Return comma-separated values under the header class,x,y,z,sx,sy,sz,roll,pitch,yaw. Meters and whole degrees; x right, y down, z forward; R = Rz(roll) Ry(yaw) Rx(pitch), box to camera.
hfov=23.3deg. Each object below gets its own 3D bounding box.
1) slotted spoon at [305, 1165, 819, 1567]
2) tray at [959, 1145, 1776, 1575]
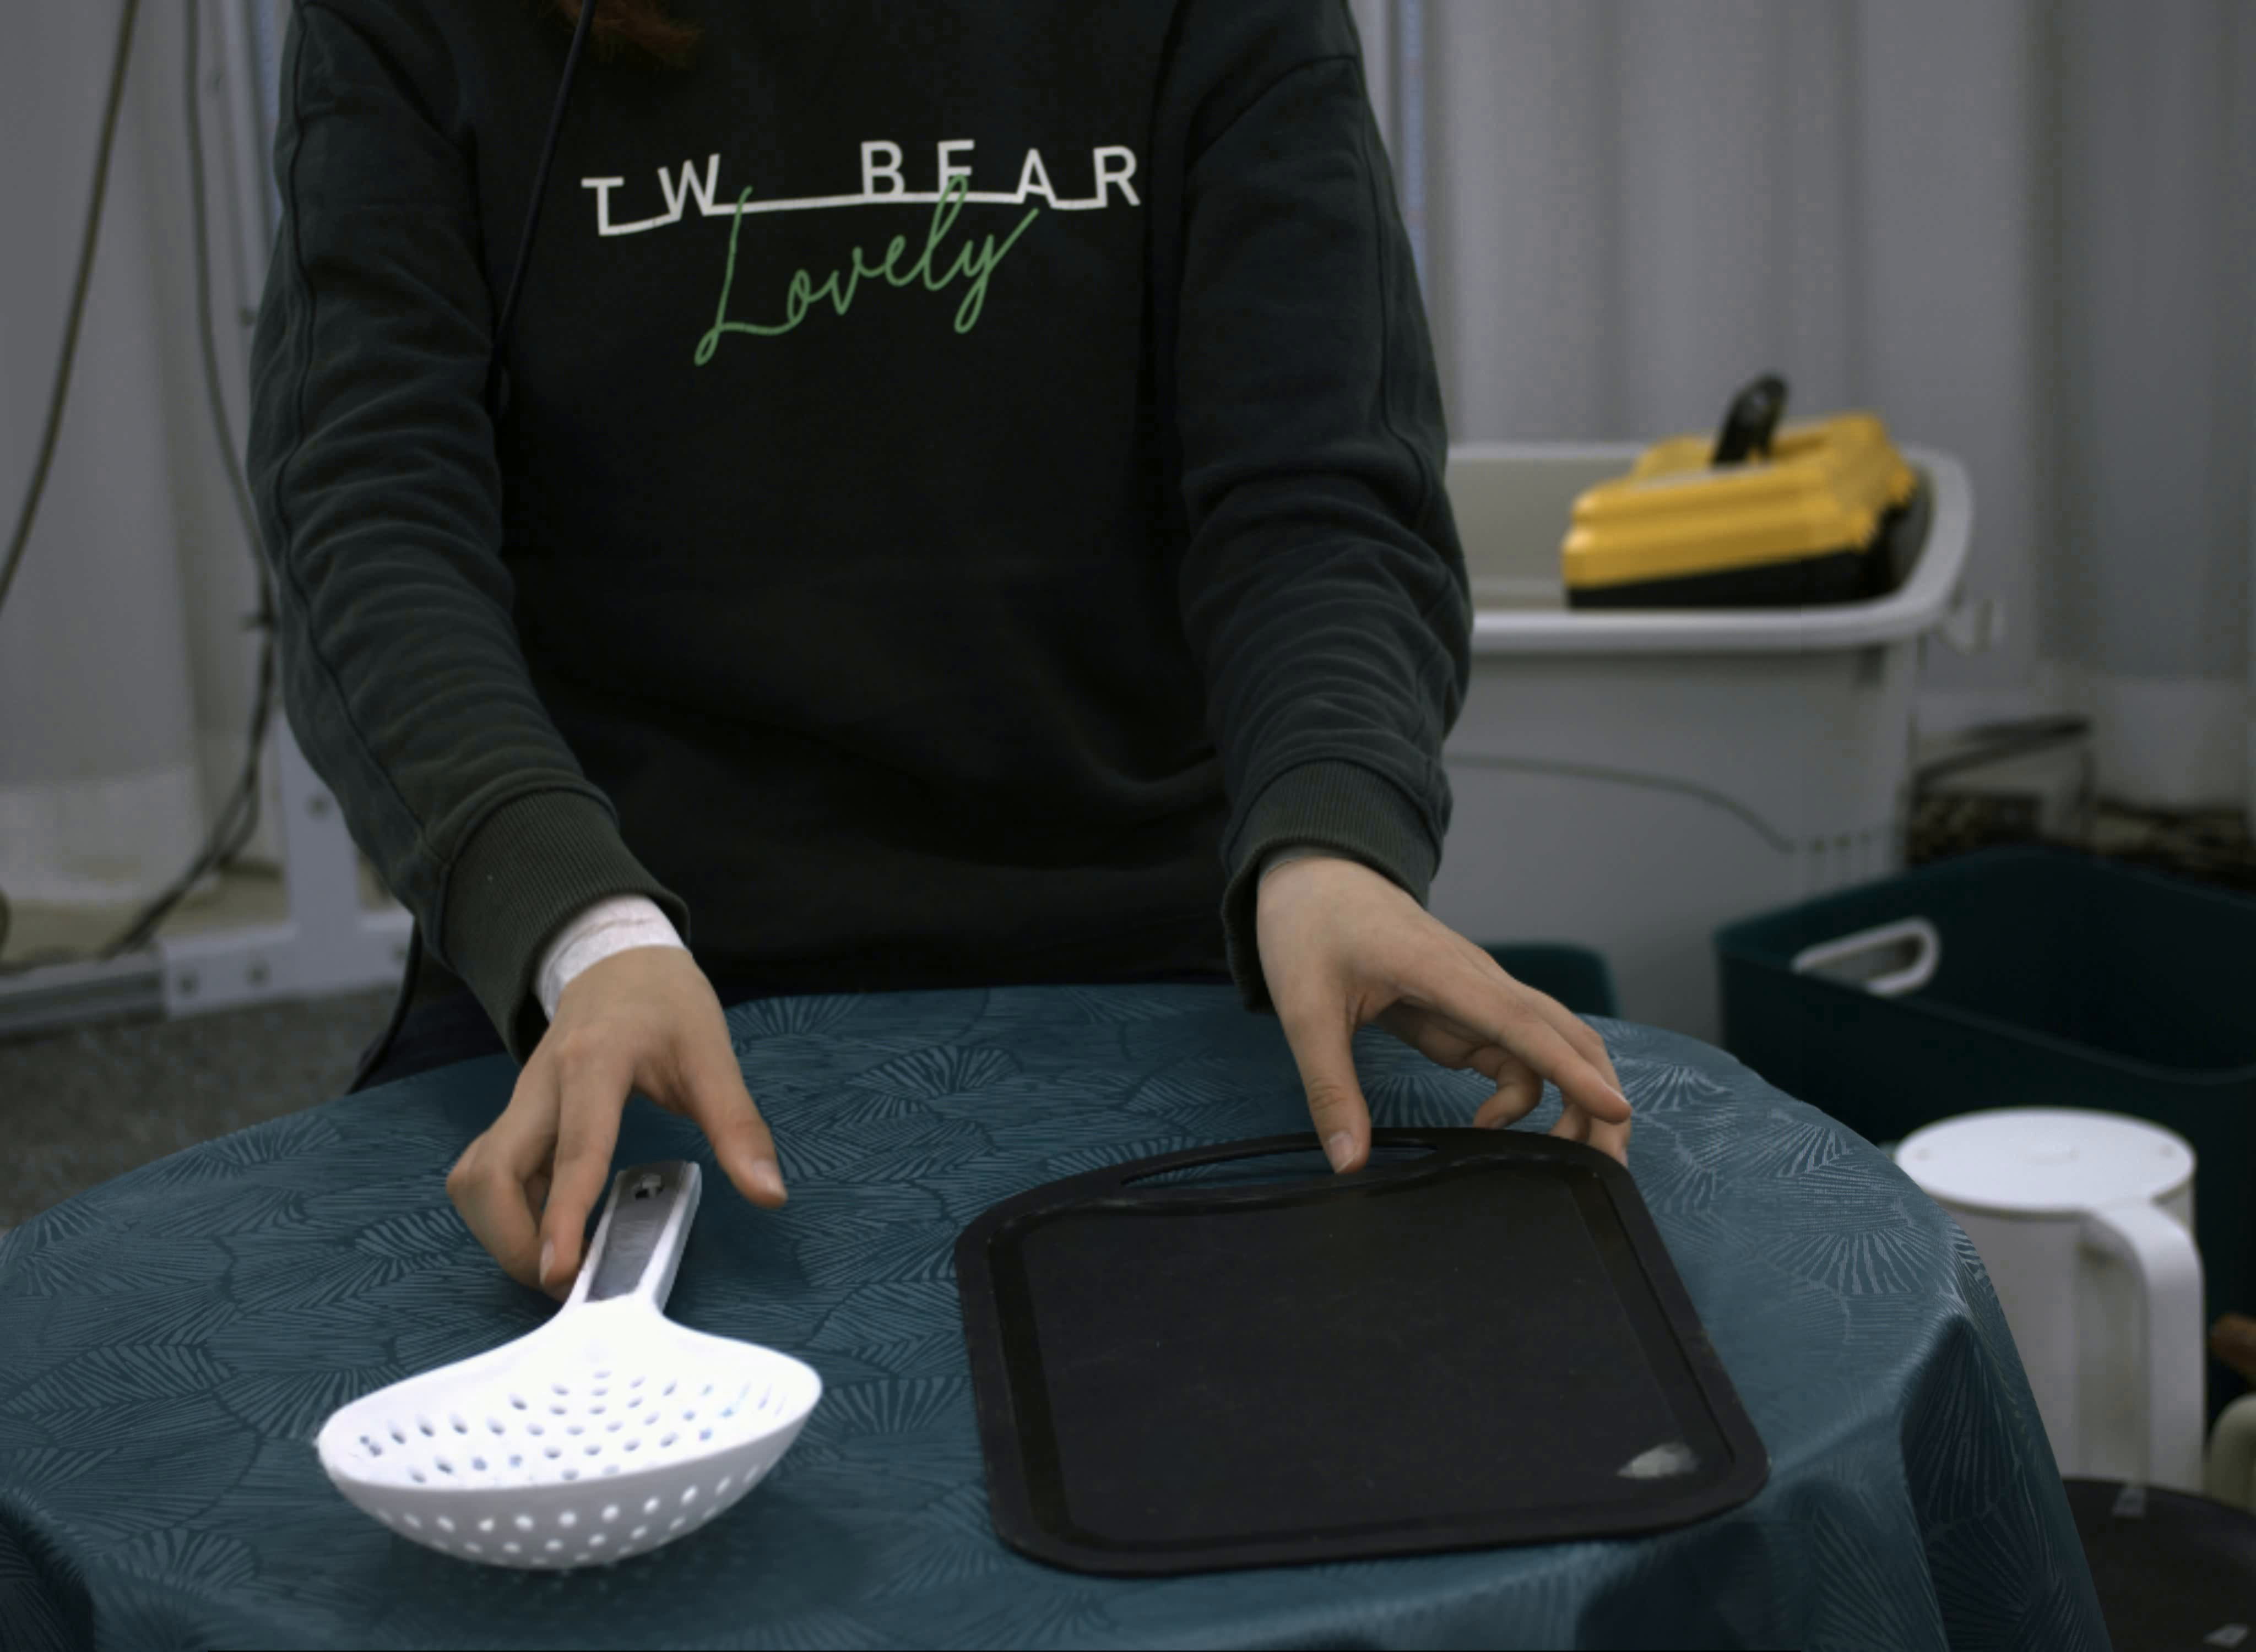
class,x,y,z,sx,sy,sz,roll,pitch,yaw
slotted spoon,-0.147,0.143,1.547,0.135,0.045,0.352,-3,14,1
tray,0.059,0.145,1.568,0.210,0.010,0.328,-4,15,-3
